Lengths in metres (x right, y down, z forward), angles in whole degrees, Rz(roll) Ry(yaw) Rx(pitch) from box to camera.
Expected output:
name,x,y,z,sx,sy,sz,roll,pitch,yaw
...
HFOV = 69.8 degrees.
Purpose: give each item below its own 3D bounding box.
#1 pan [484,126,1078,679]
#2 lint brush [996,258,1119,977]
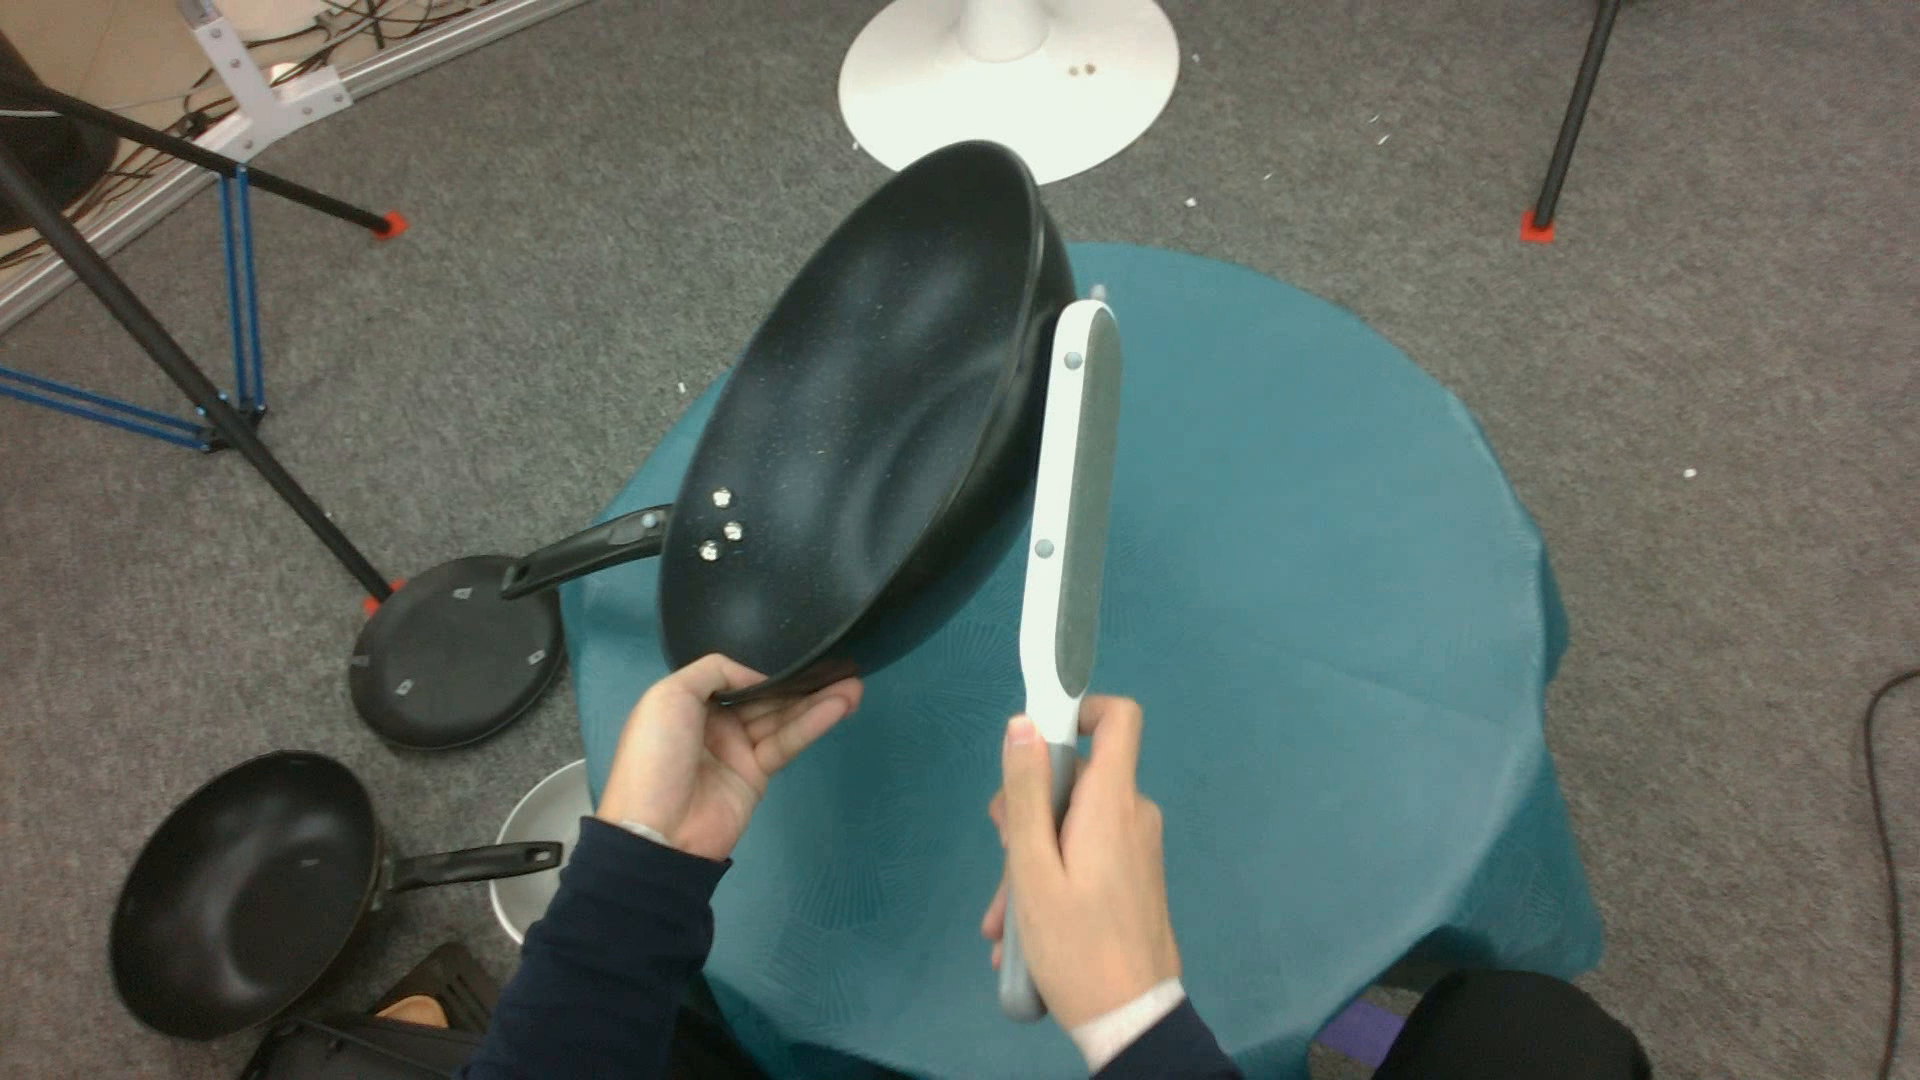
name,x,y,z,sx,sy,sz,roll,pitch,yaw
pan,-0.106,-0.036,0.758,0.475,0.111,0.311,-25,45,41
lint brush,0.042,0.024,0.584,0.021,0.060,0.309,2,75,17
